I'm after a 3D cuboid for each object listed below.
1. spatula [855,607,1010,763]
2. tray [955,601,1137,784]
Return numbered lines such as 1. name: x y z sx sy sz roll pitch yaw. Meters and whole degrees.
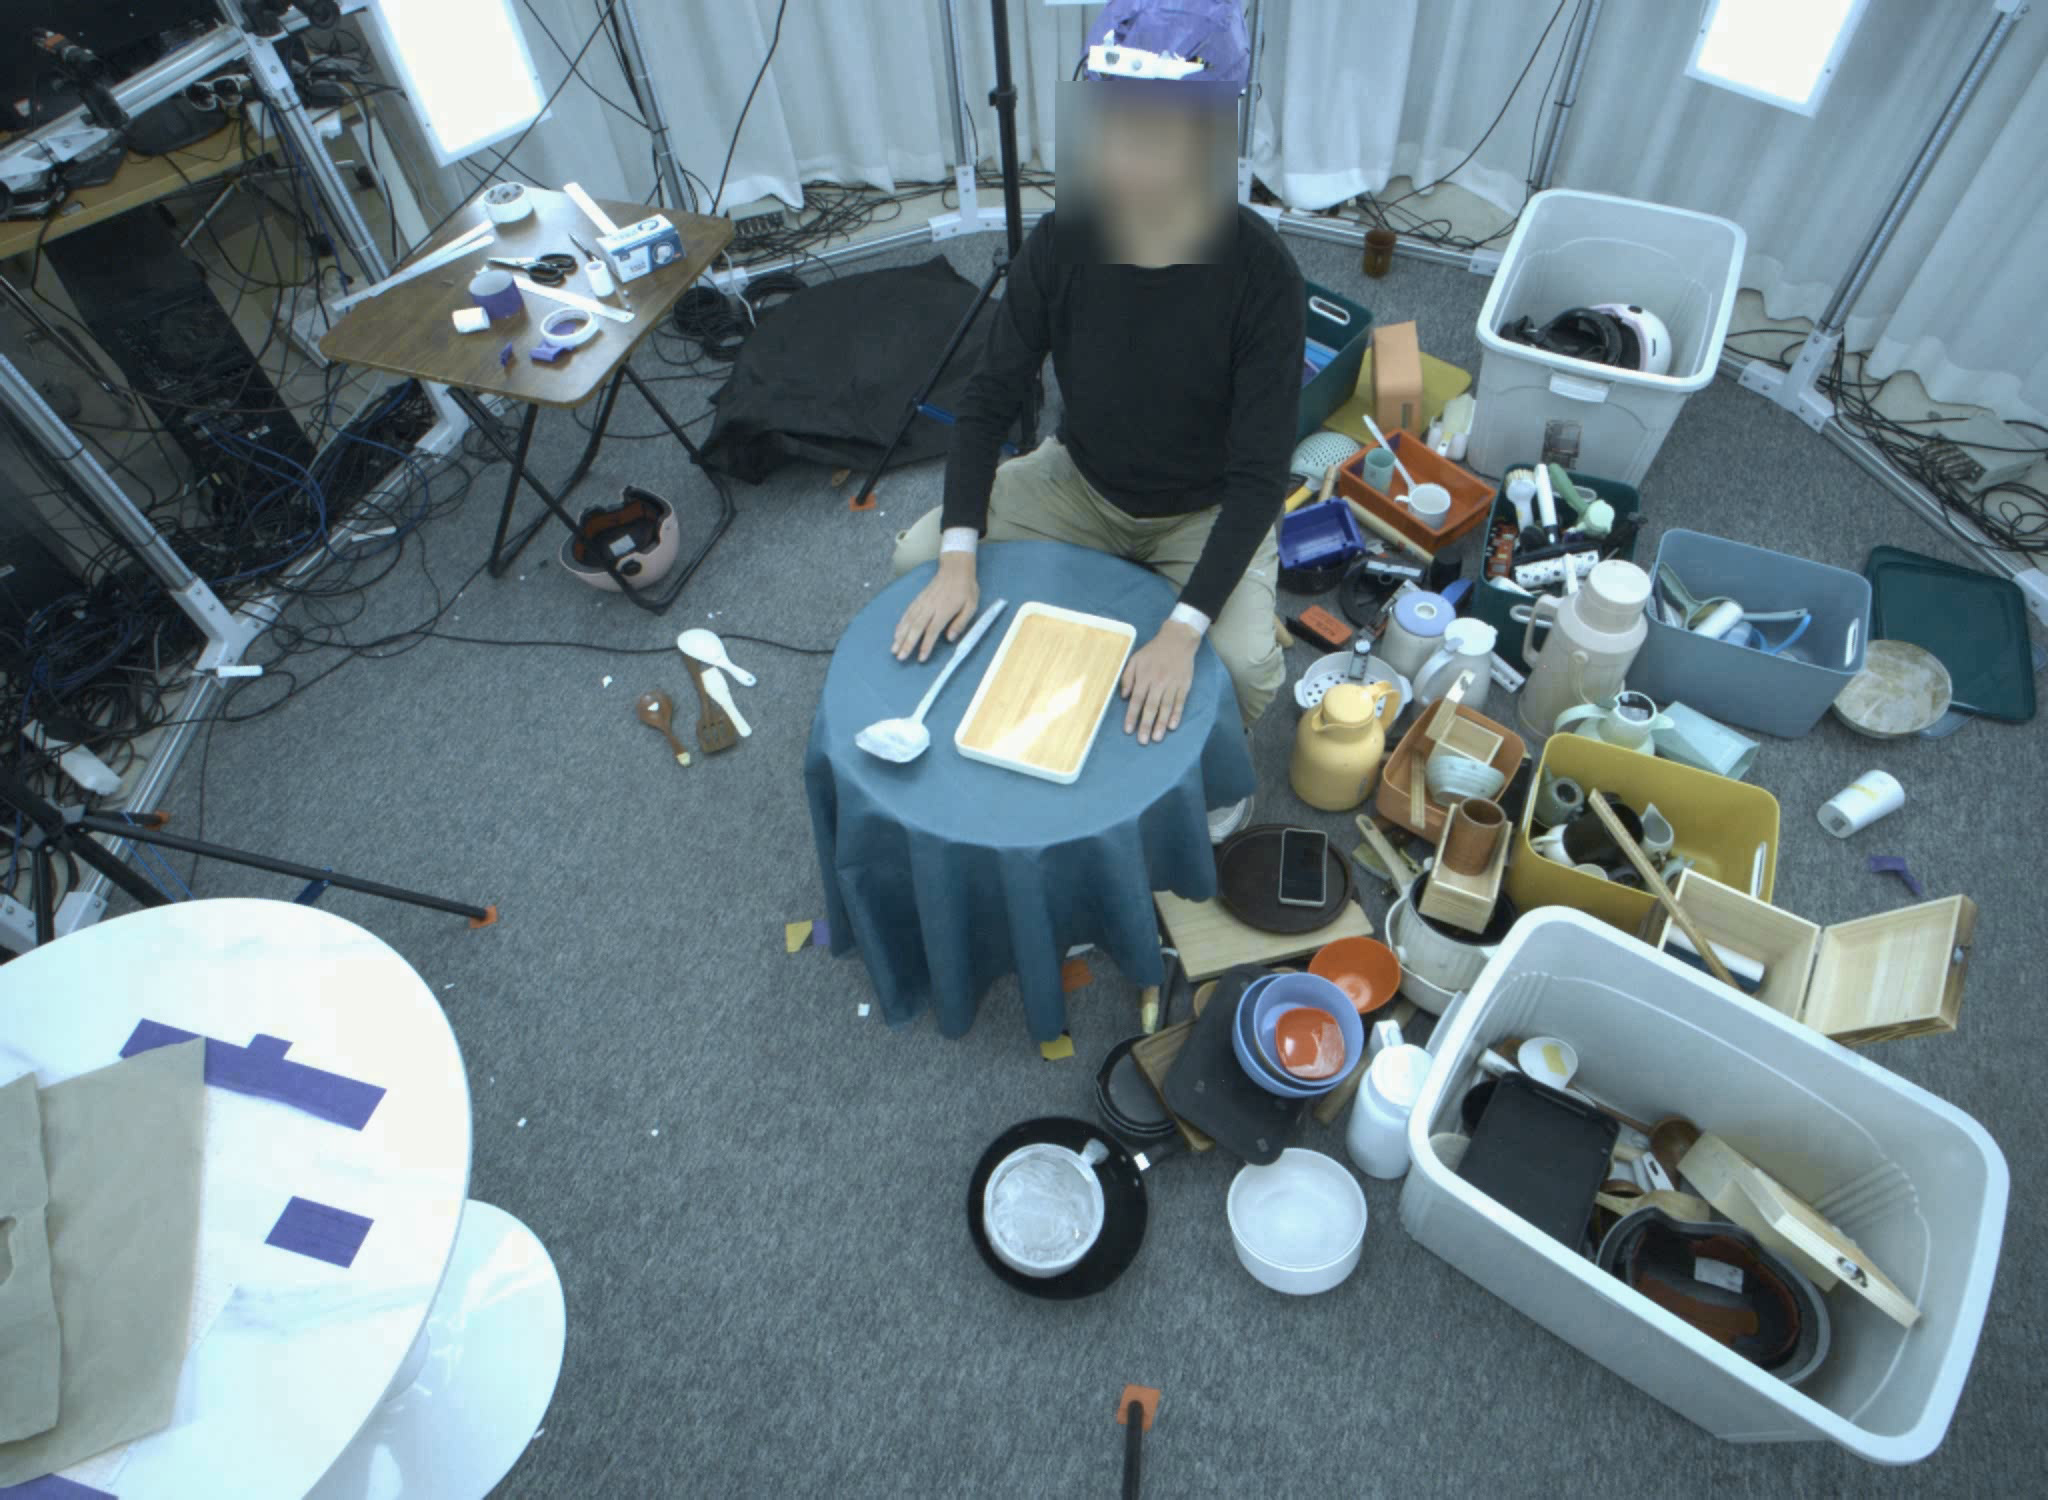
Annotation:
1. spatula: -0.121 -0.111 1.847 0.097 0.045 0.365 23 59 18
2. tray: 0.037 -0.092 1.835 0.189 0.028 0.300 16 57 13
